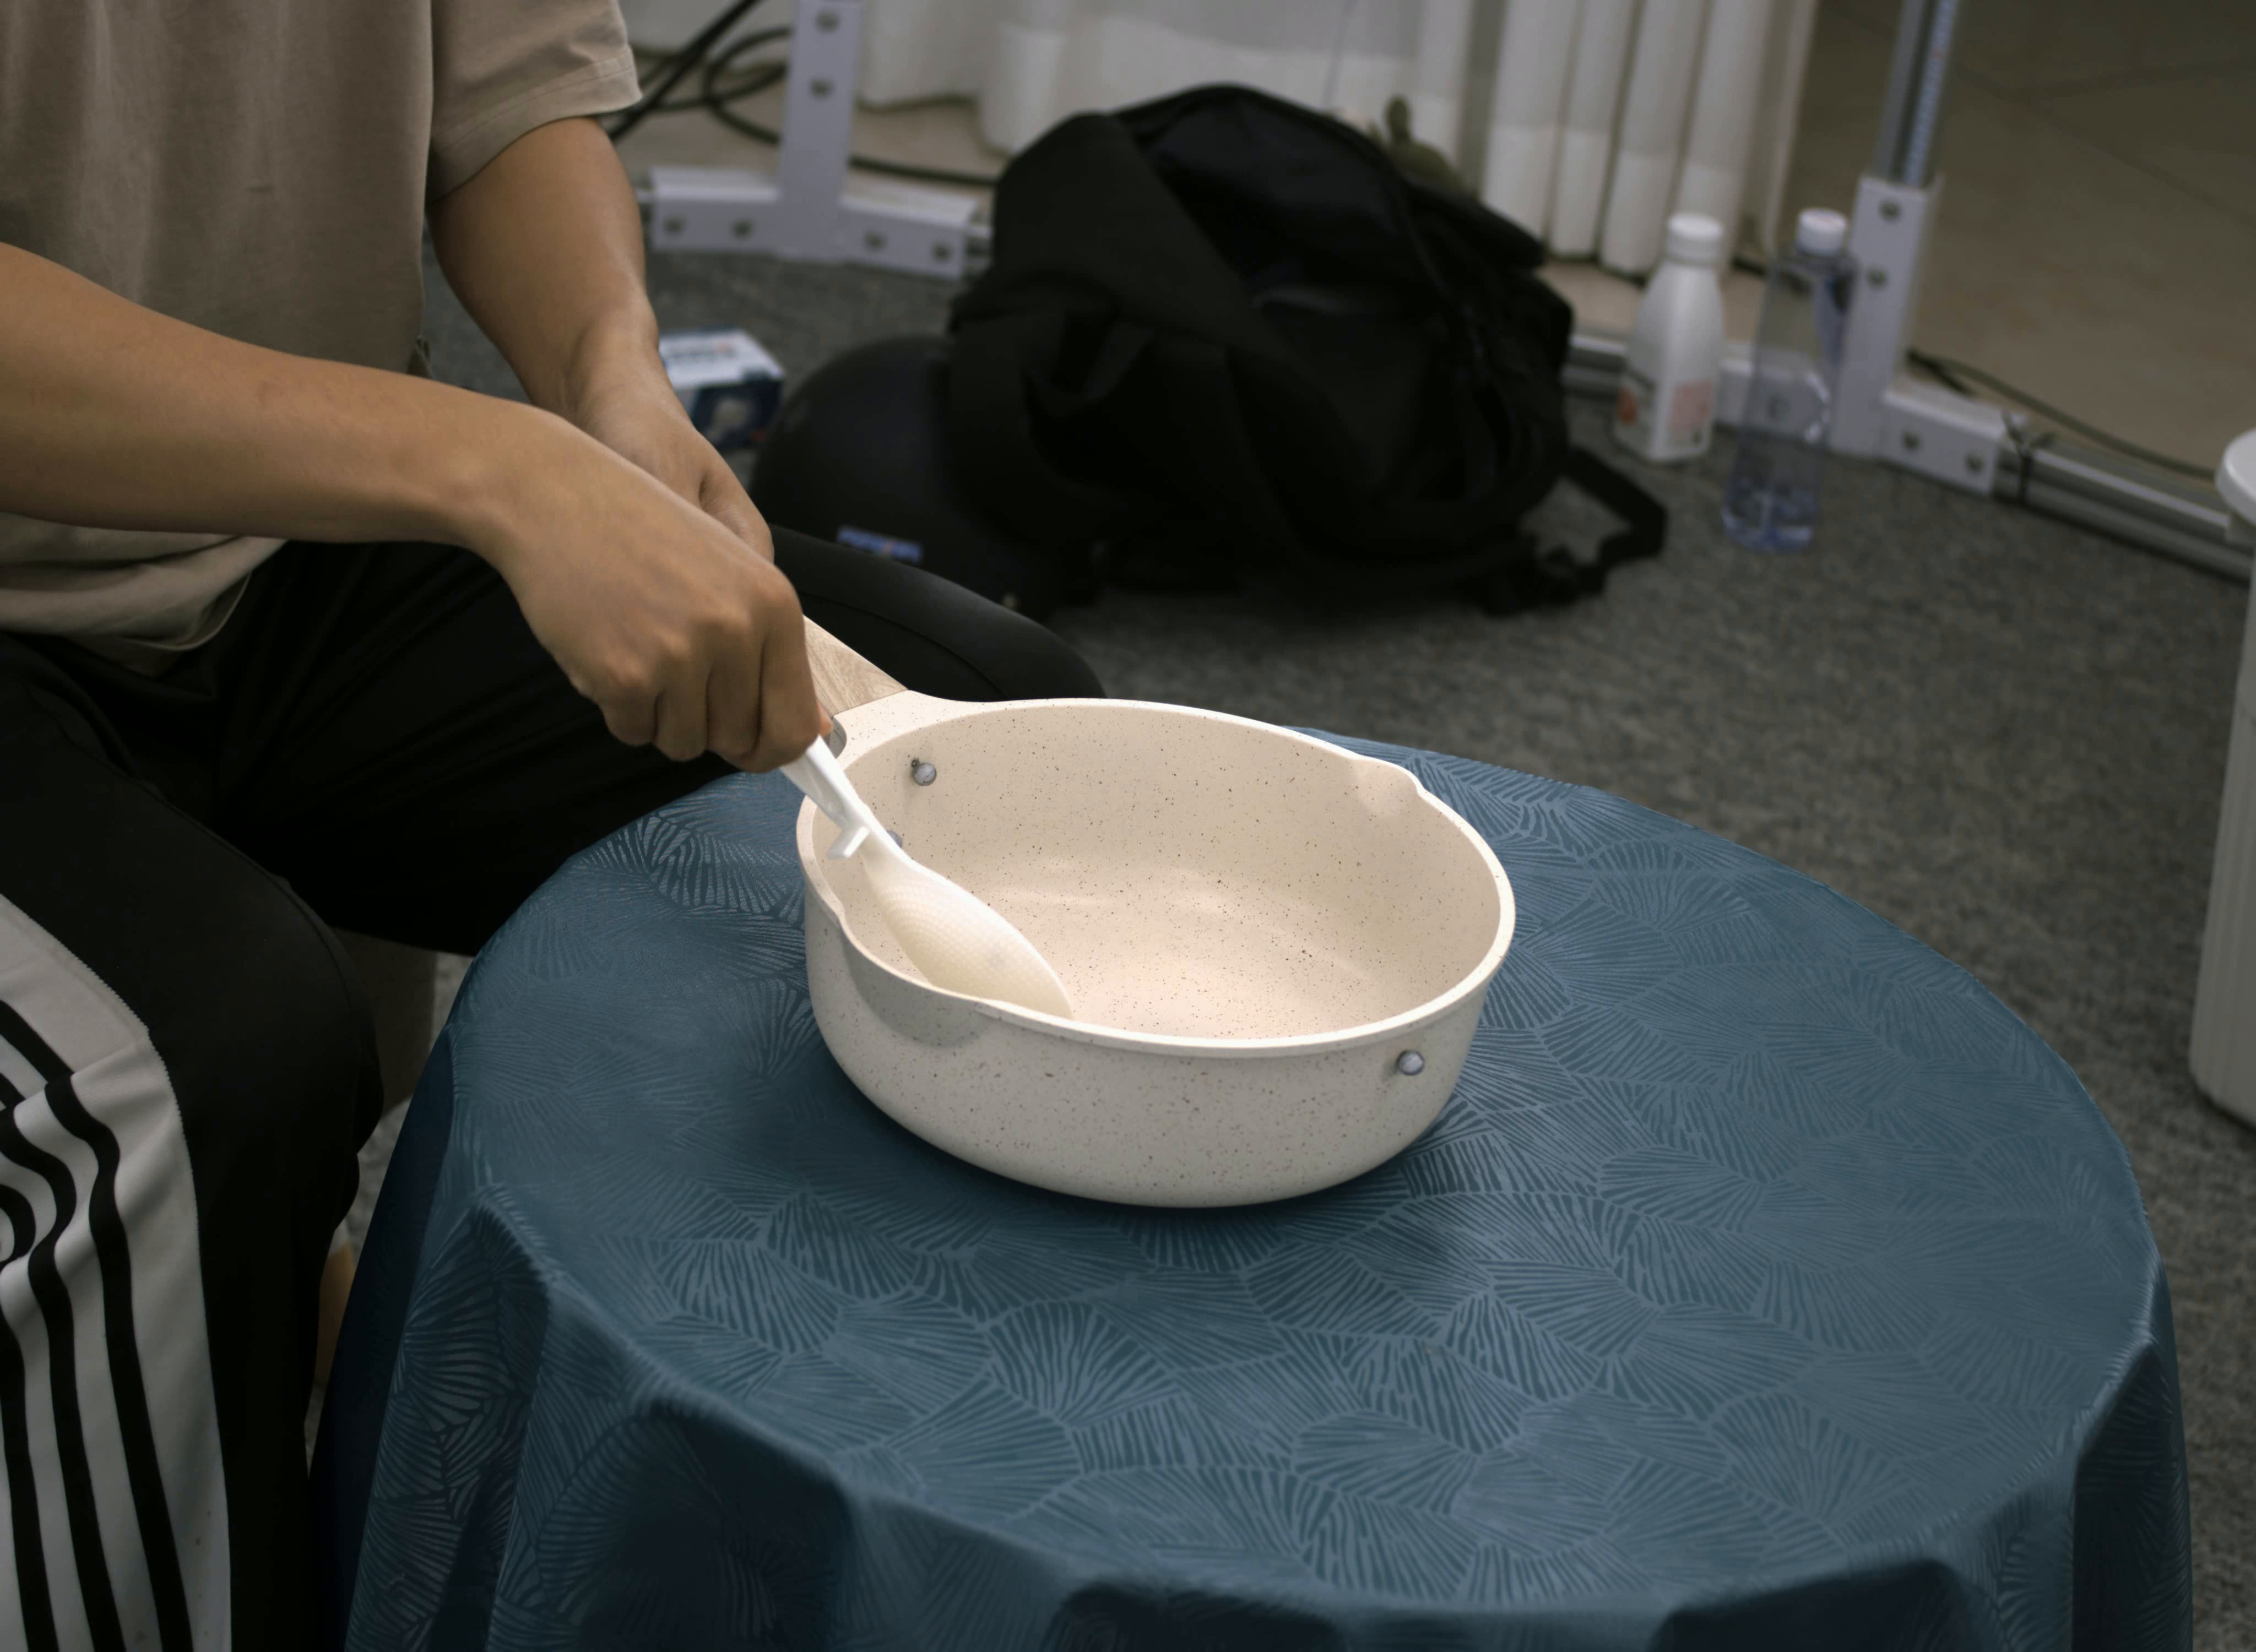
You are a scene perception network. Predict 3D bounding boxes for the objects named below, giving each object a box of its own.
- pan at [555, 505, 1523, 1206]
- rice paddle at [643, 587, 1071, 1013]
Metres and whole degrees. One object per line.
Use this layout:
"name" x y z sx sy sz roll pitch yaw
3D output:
"pan" -0.056 0.005 1.918 0.438 0.101 0.262 28 36 36
"rice paddle" -0.087 0.002 1.800 0.069 0.204 0.029 -9 38 53
